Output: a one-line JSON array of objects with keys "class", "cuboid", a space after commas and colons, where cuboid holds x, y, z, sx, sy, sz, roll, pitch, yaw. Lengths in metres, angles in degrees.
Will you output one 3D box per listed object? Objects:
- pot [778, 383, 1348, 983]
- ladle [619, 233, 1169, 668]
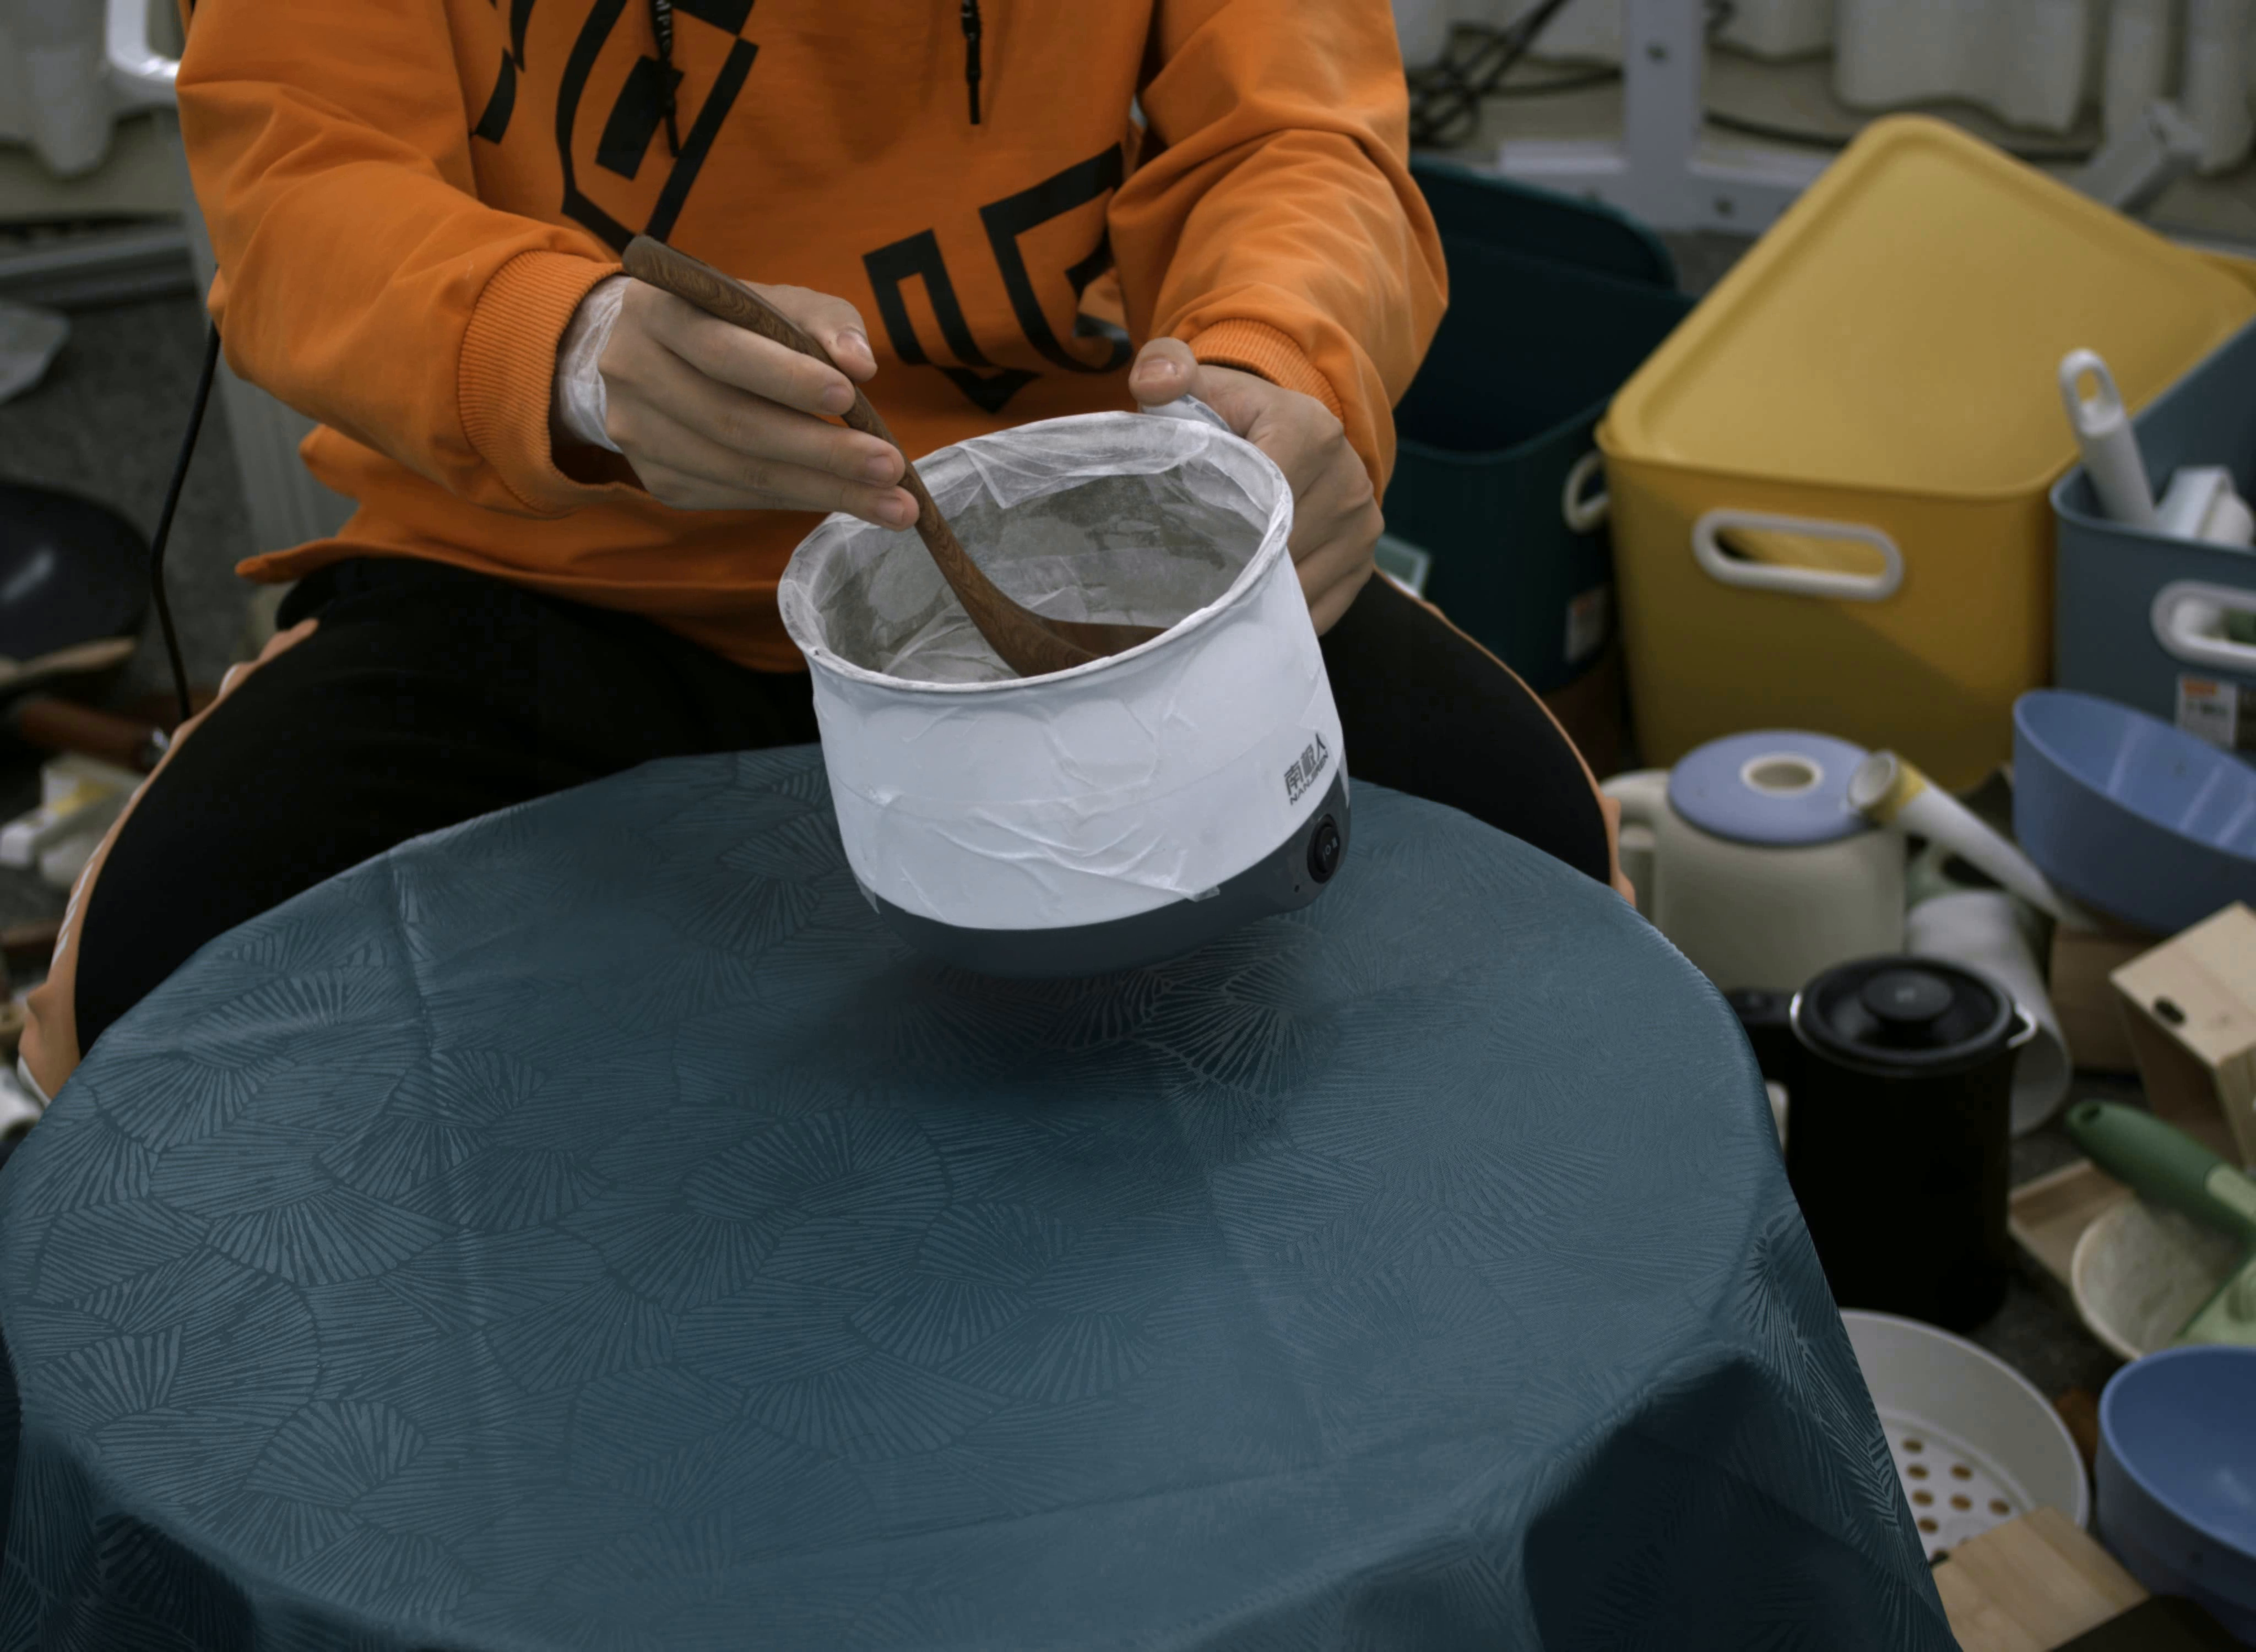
[{"class": "pot", "cuboid": [-0.008, -0.057, 1.943, 0.177, 0.135, 0.238, 5, 36, 26]}, {"class": "ladle", "cuboid": [-0.061, -0.122, 1.897, 0.065, 0.259, 0.076, -45, 15, -4]}]
